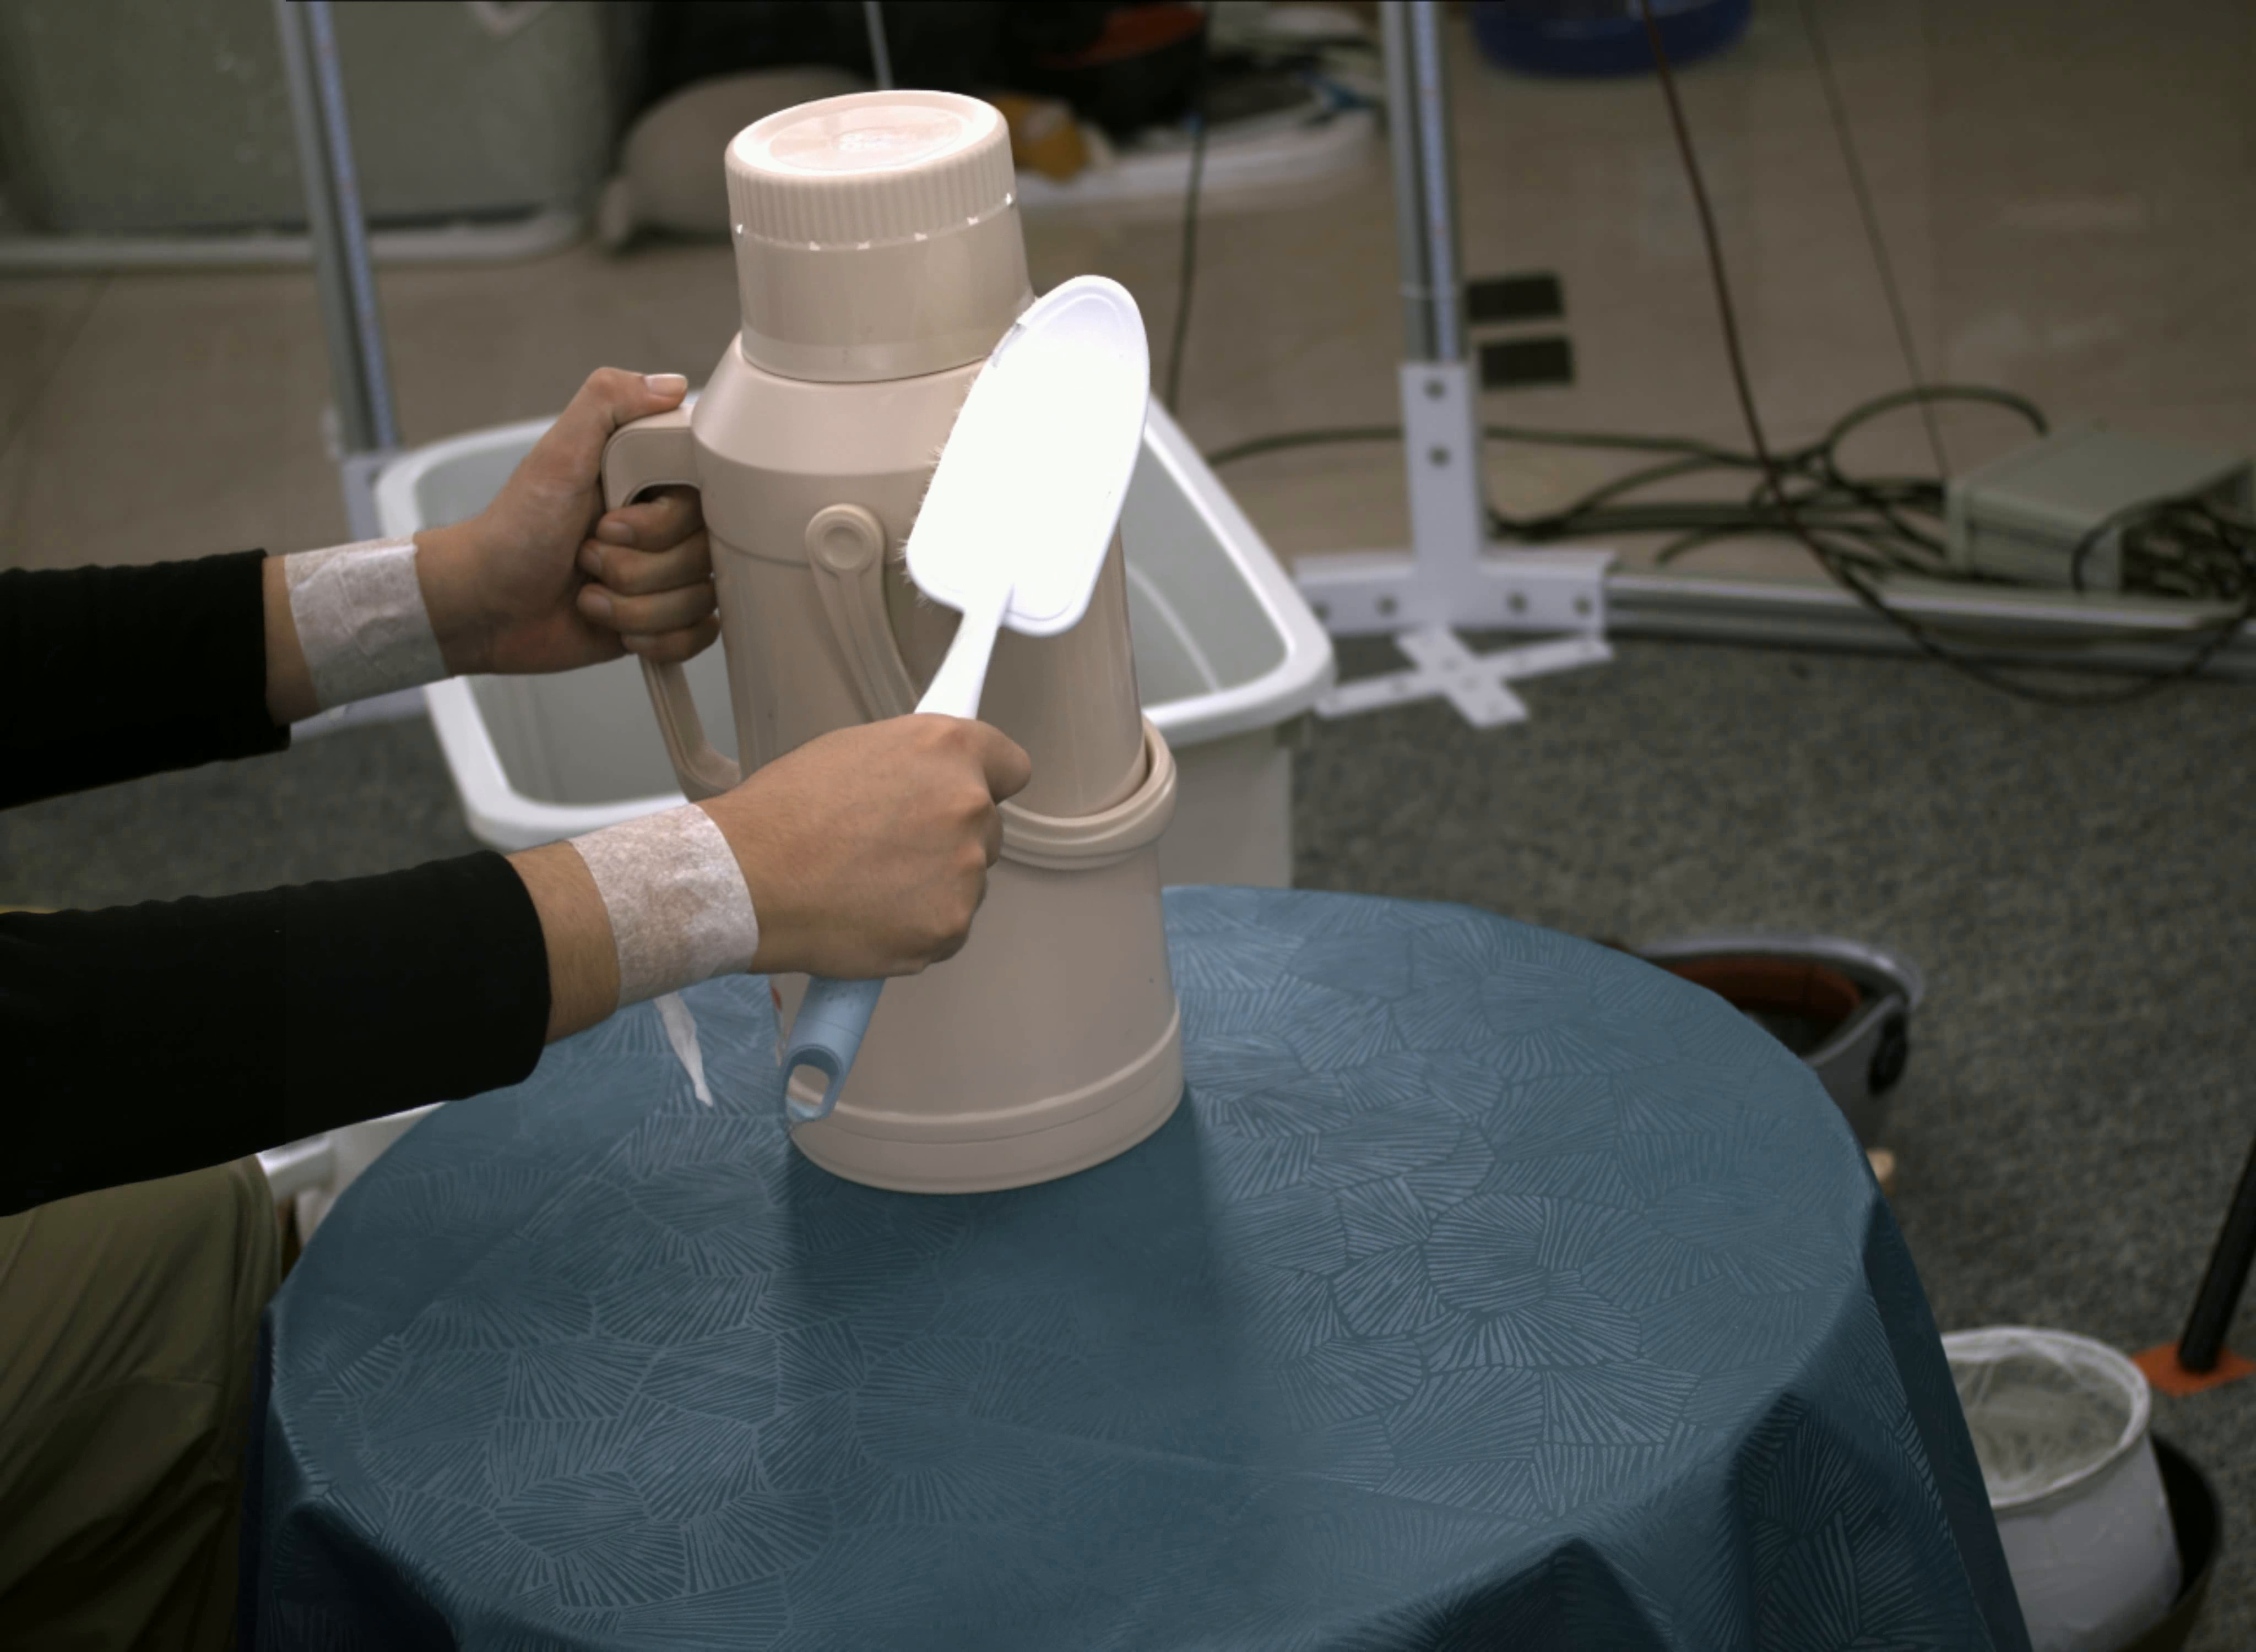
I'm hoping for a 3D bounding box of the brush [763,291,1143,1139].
[{"bbox_3d":[-0.070,-0.039,1.989,0.082,0.085,0.323,12,76,33],"label":"brush"}]

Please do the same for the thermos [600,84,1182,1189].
[{"bbox_3d":[-0.089,-0.073,2.147,0.206,0.413,0.172,0,28,13],"label":"thermos"}]
